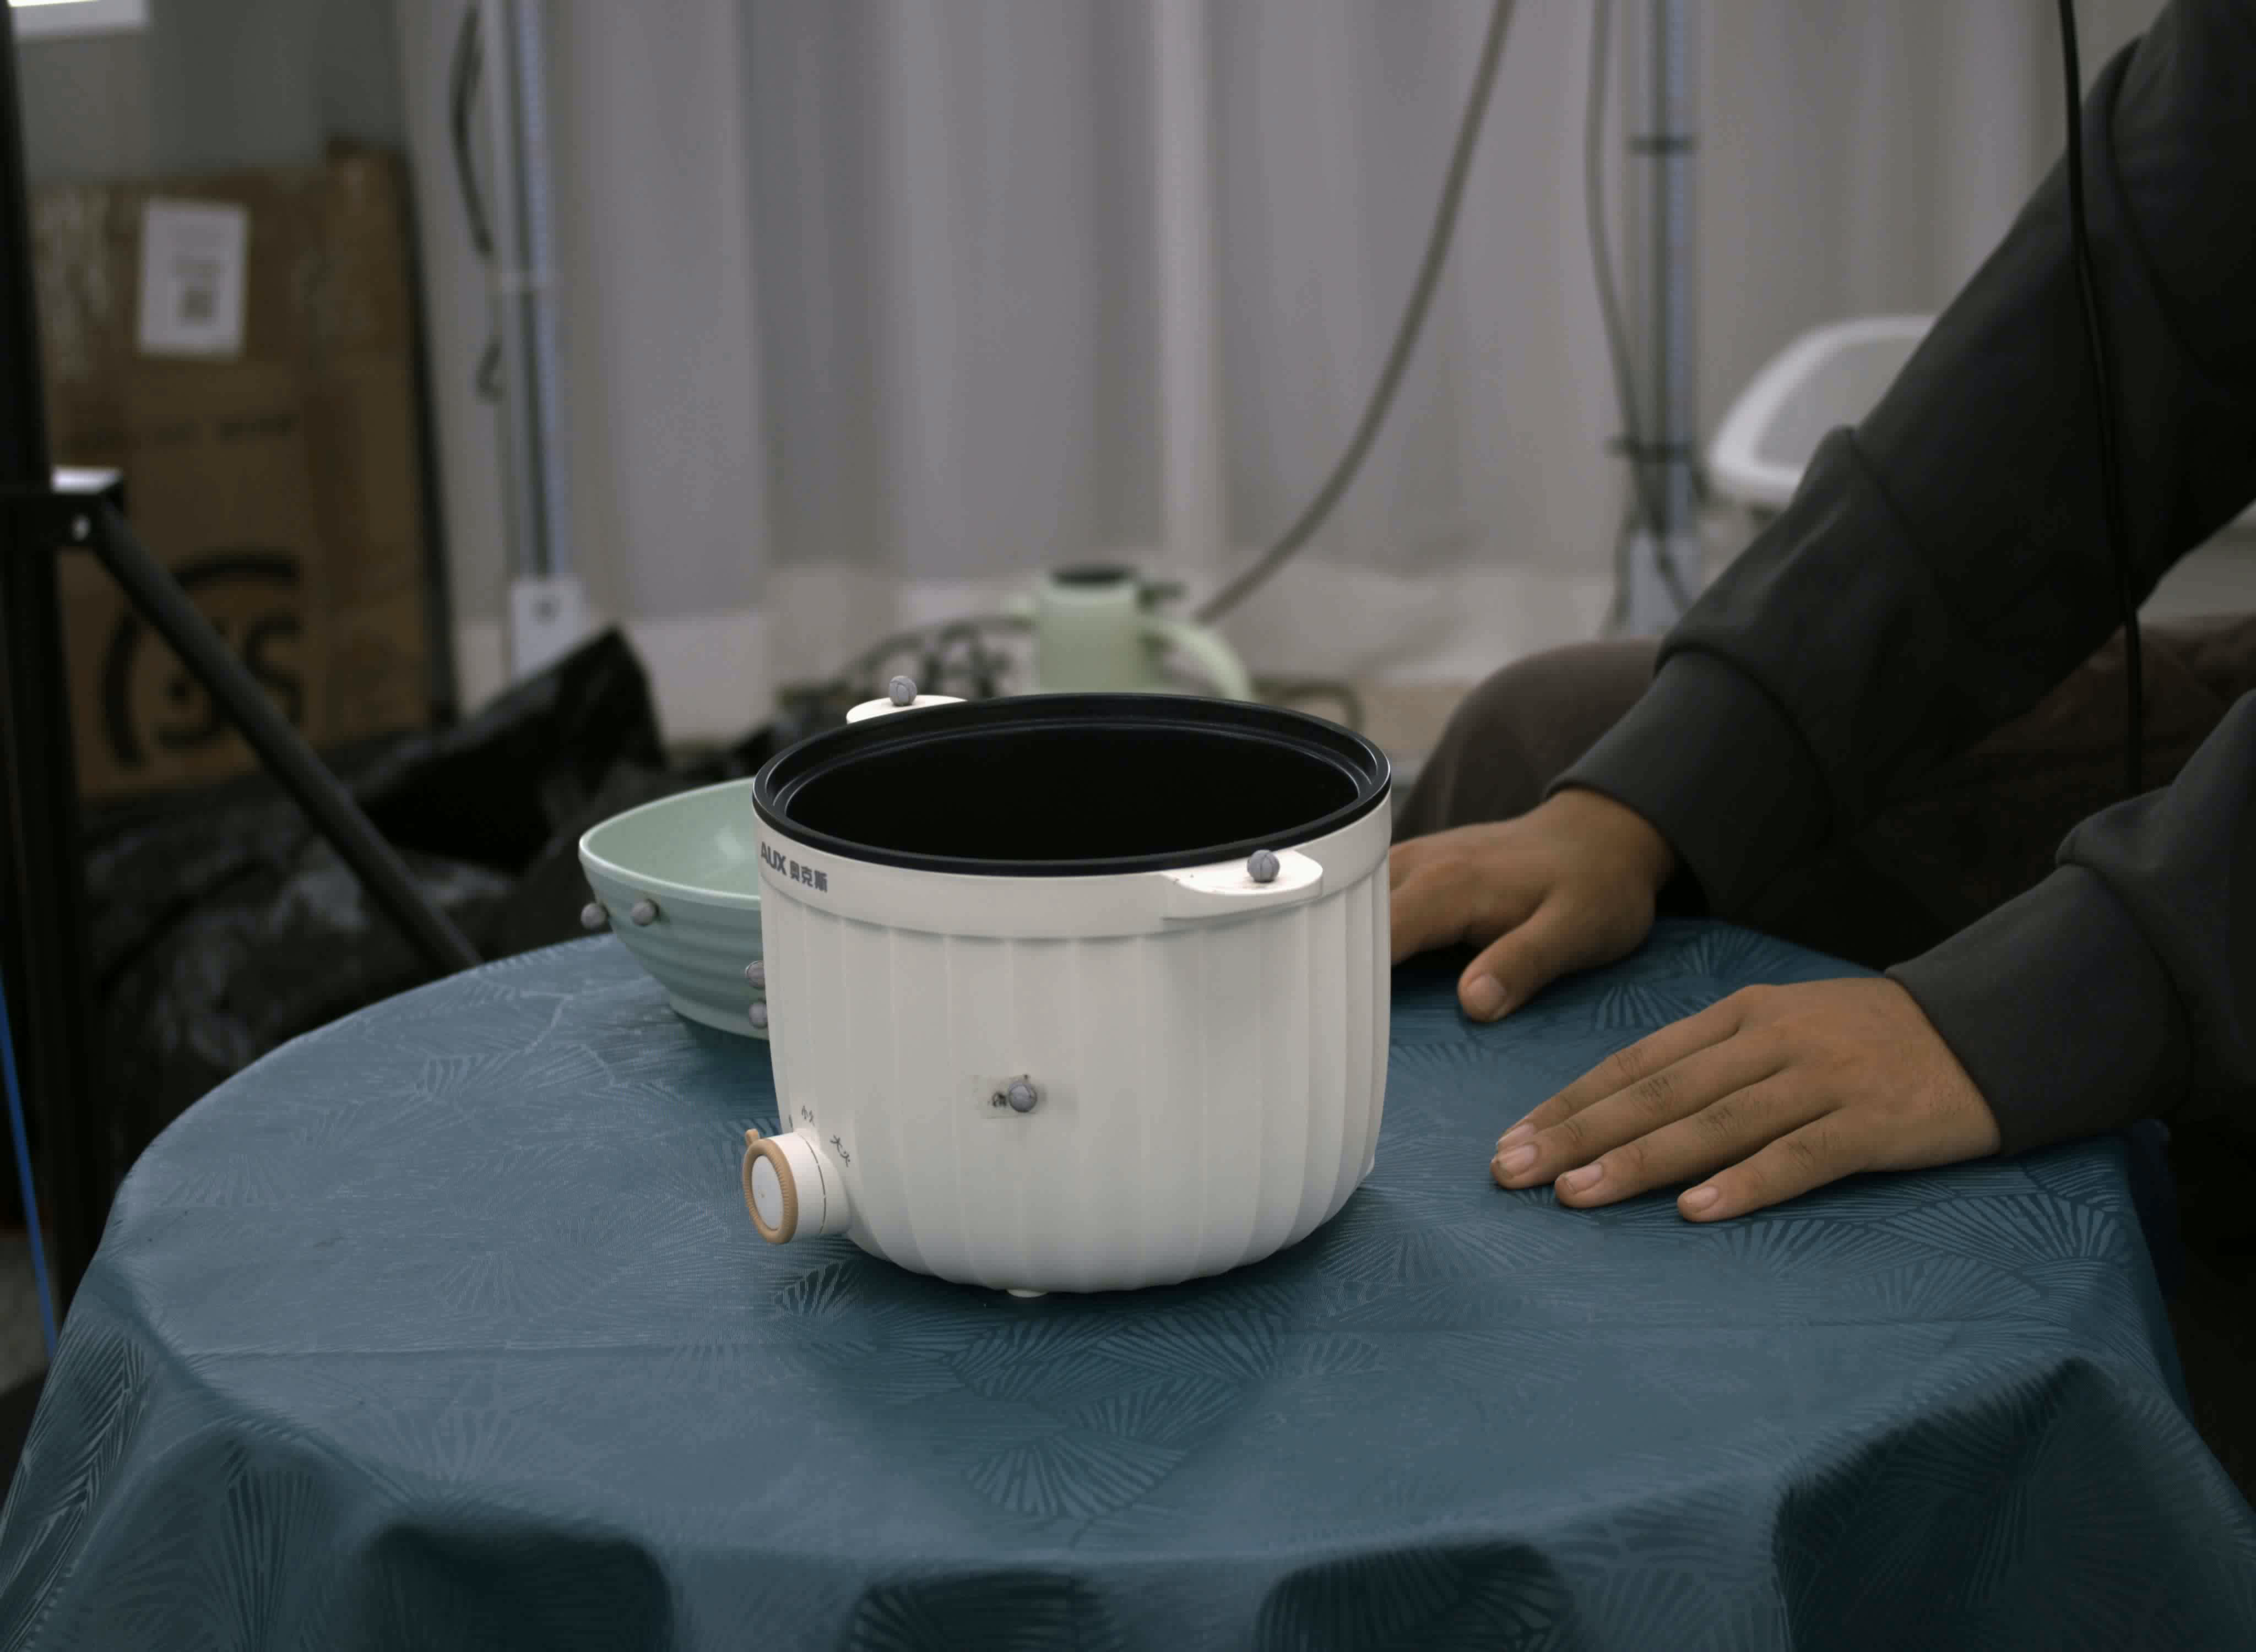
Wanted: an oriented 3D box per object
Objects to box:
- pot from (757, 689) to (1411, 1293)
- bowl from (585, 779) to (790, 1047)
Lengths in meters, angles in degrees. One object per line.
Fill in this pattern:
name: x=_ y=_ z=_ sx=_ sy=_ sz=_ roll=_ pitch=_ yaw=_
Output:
pot: x=-0.015 y=0.049 z=1.511 sx=0.186 sy=0.143 sz=0.245 roll=-7 pitch=14 yaw=-28
bowl: x=-0.100 y=0.031 z=1.741 sx=0.151 sy=0.058 sz=0.152 roll=-4 pitch=17 yaw=0
